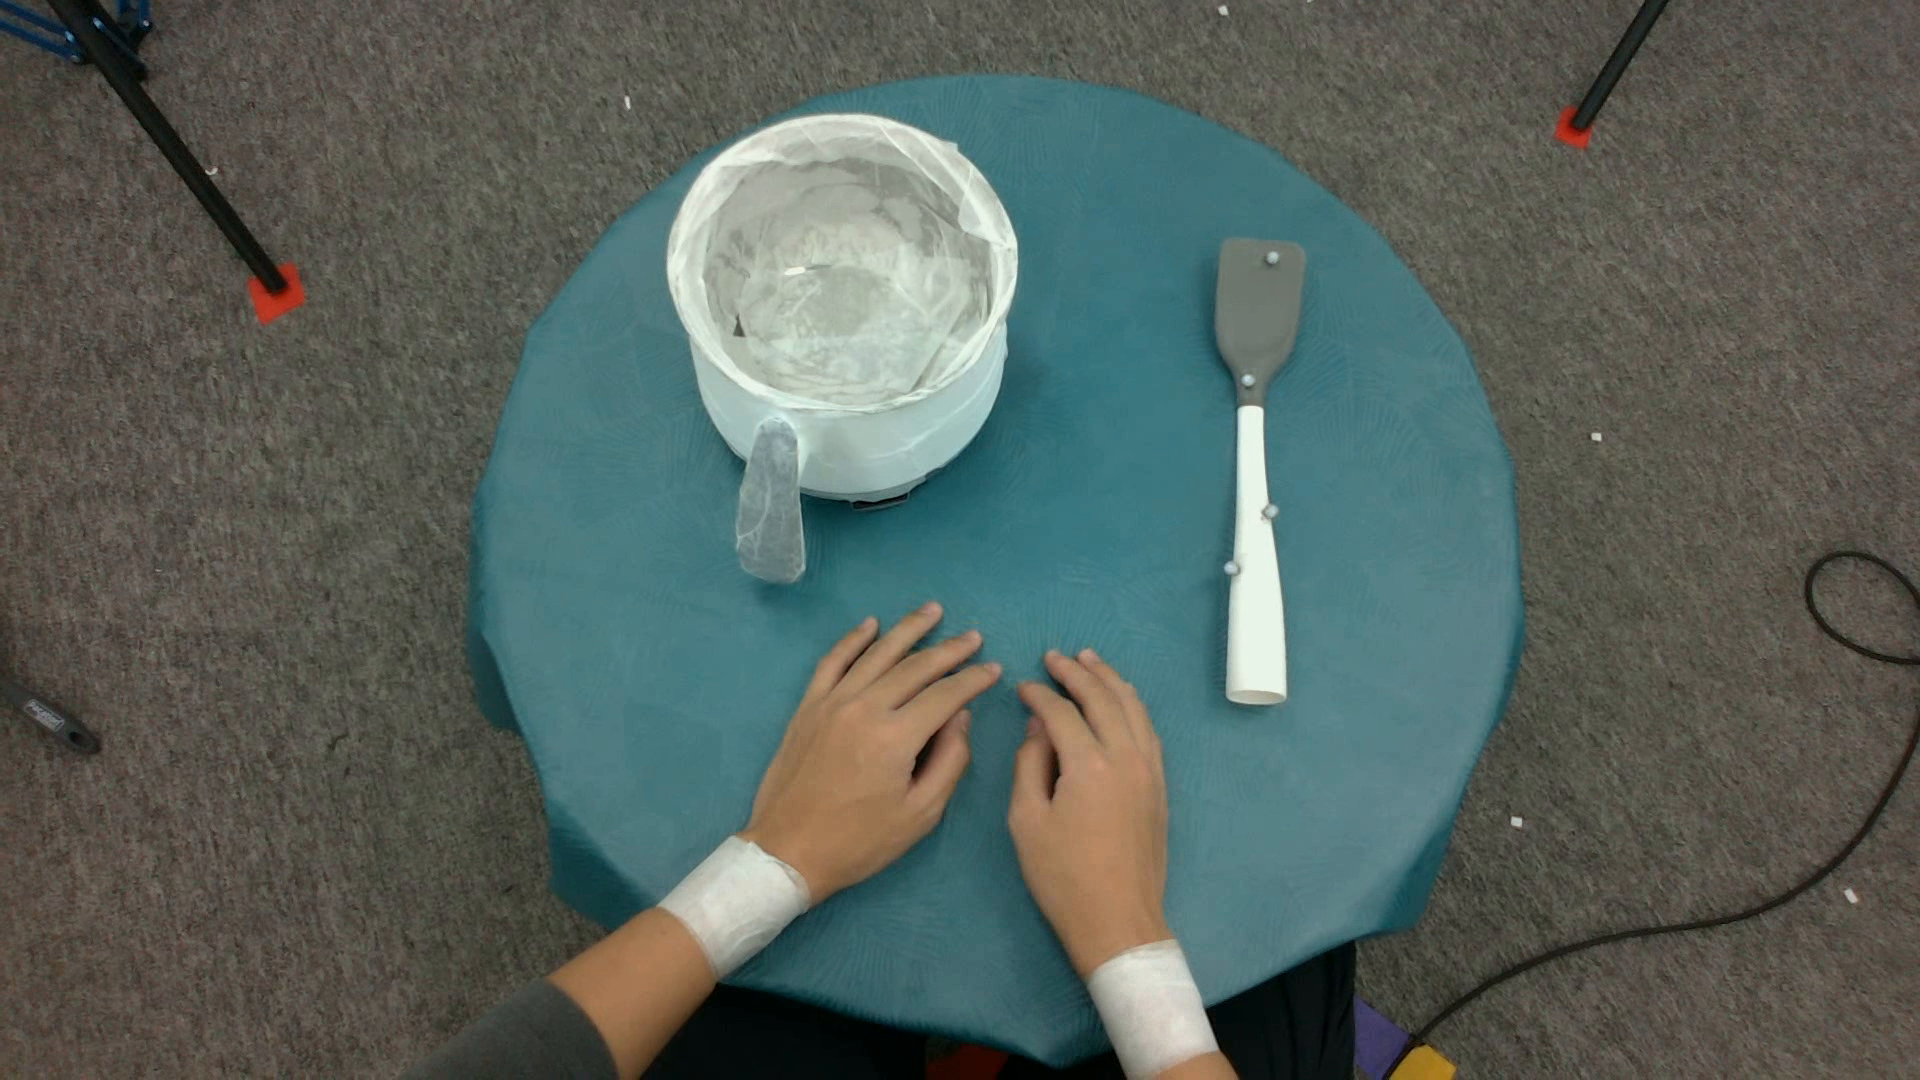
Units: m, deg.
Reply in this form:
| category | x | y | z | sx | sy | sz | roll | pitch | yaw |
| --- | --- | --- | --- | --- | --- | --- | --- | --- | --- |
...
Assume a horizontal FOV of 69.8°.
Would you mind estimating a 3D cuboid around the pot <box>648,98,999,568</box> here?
| category | x | y | z | sx | sy | sz | roll | pitch | yaw |
| --- | --- | --- | --- | --- | --- | --- | --- | --- | --- |
| pot | -0.079 | -0.104 | 0.747 | 0.178 | 0.136 | 0.234 | 15 | 69 | 3 |

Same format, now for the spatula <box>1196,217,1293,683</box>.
| category | x | y | z | sx | sy | sz | roll | pitch | yaw |
| --- | --- | --- | --- | --- | --- | --- | --- | --- | --- |
| spatula | 0.164 | -0.059 | 0.801 | 0.058 | 0.032 | 0.288 | 4 | 70 | 2 |
